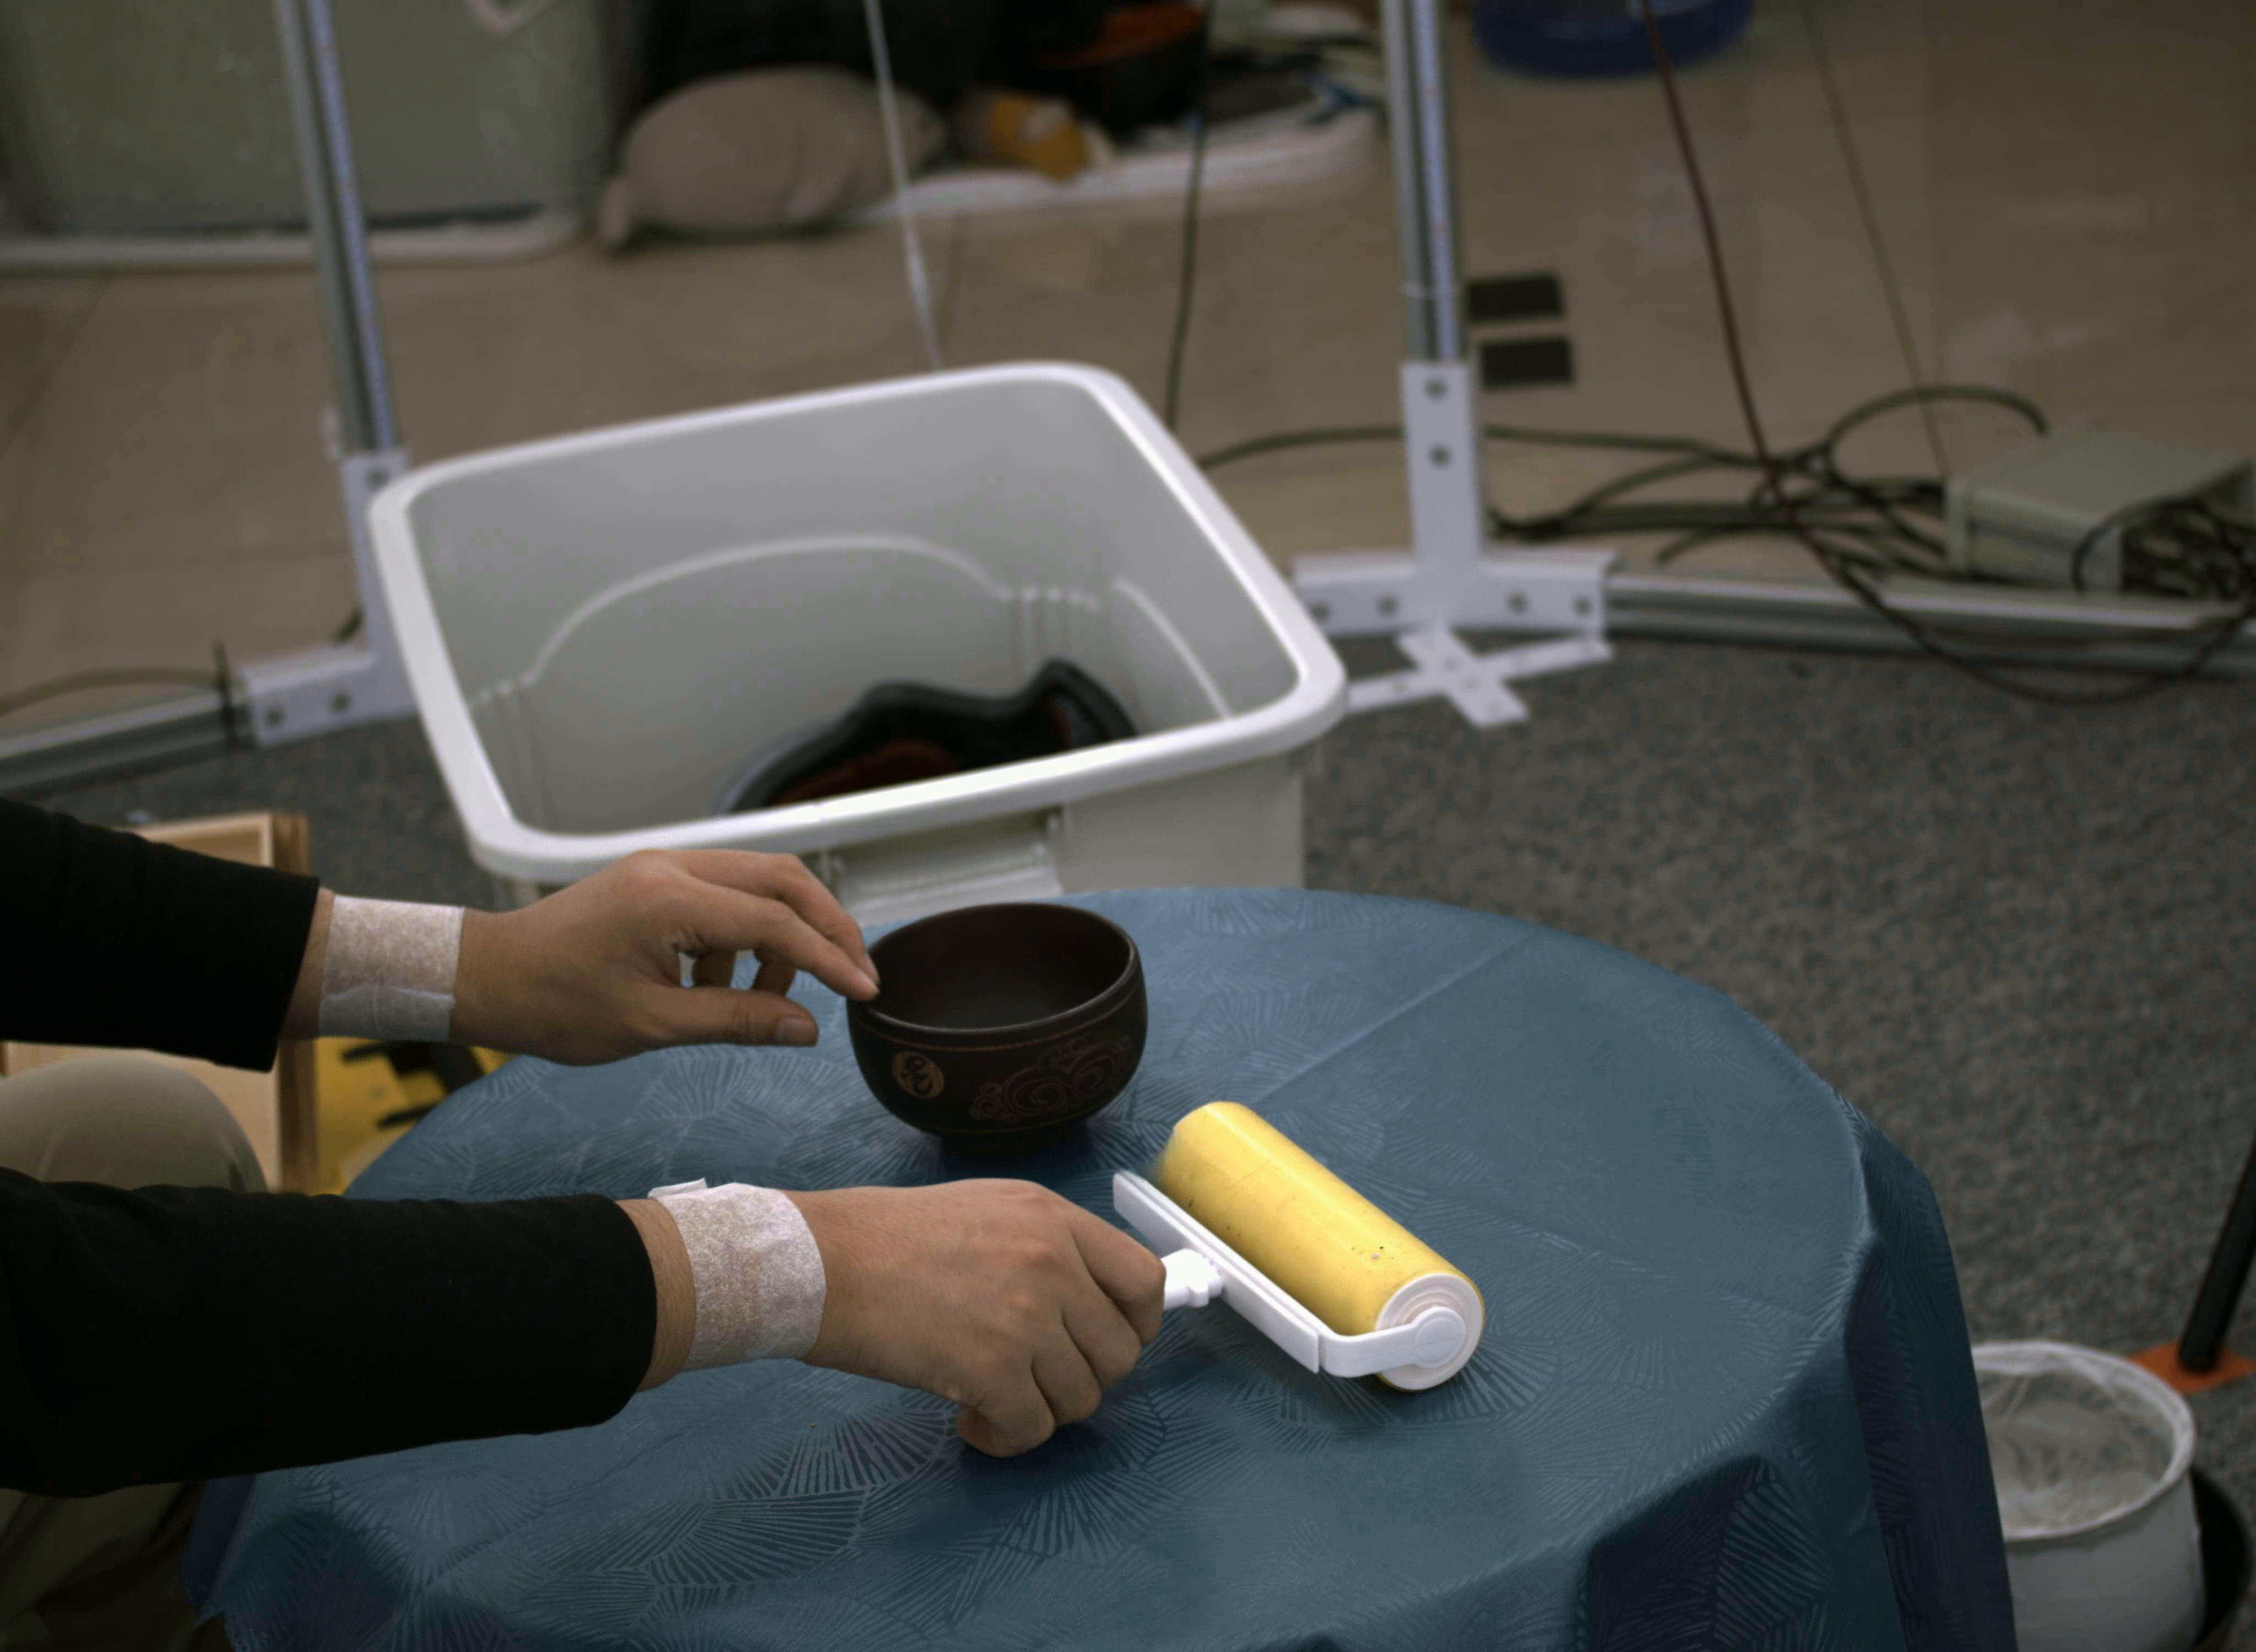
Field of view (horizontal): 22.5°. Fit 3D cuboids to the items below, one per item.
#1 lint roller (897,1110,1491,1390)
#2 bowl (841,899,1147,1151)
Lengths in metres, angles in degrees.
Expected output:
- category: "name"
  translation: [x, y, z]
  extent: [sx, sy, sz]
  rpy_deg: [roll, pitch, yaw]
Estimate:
- category: "lint roller"
  translation: [0.006, 0.159, 2.015]
  extent: [0.191, 0.052, 0.172]
  rpy_deg: [-4, 21, -30]
- category: "bowl"
  translation: [-0.050, 0.082, 2.192]
  extent: [0.118, 0.071, 0.116]
  rpy_deg: [-5, 24, 2]
